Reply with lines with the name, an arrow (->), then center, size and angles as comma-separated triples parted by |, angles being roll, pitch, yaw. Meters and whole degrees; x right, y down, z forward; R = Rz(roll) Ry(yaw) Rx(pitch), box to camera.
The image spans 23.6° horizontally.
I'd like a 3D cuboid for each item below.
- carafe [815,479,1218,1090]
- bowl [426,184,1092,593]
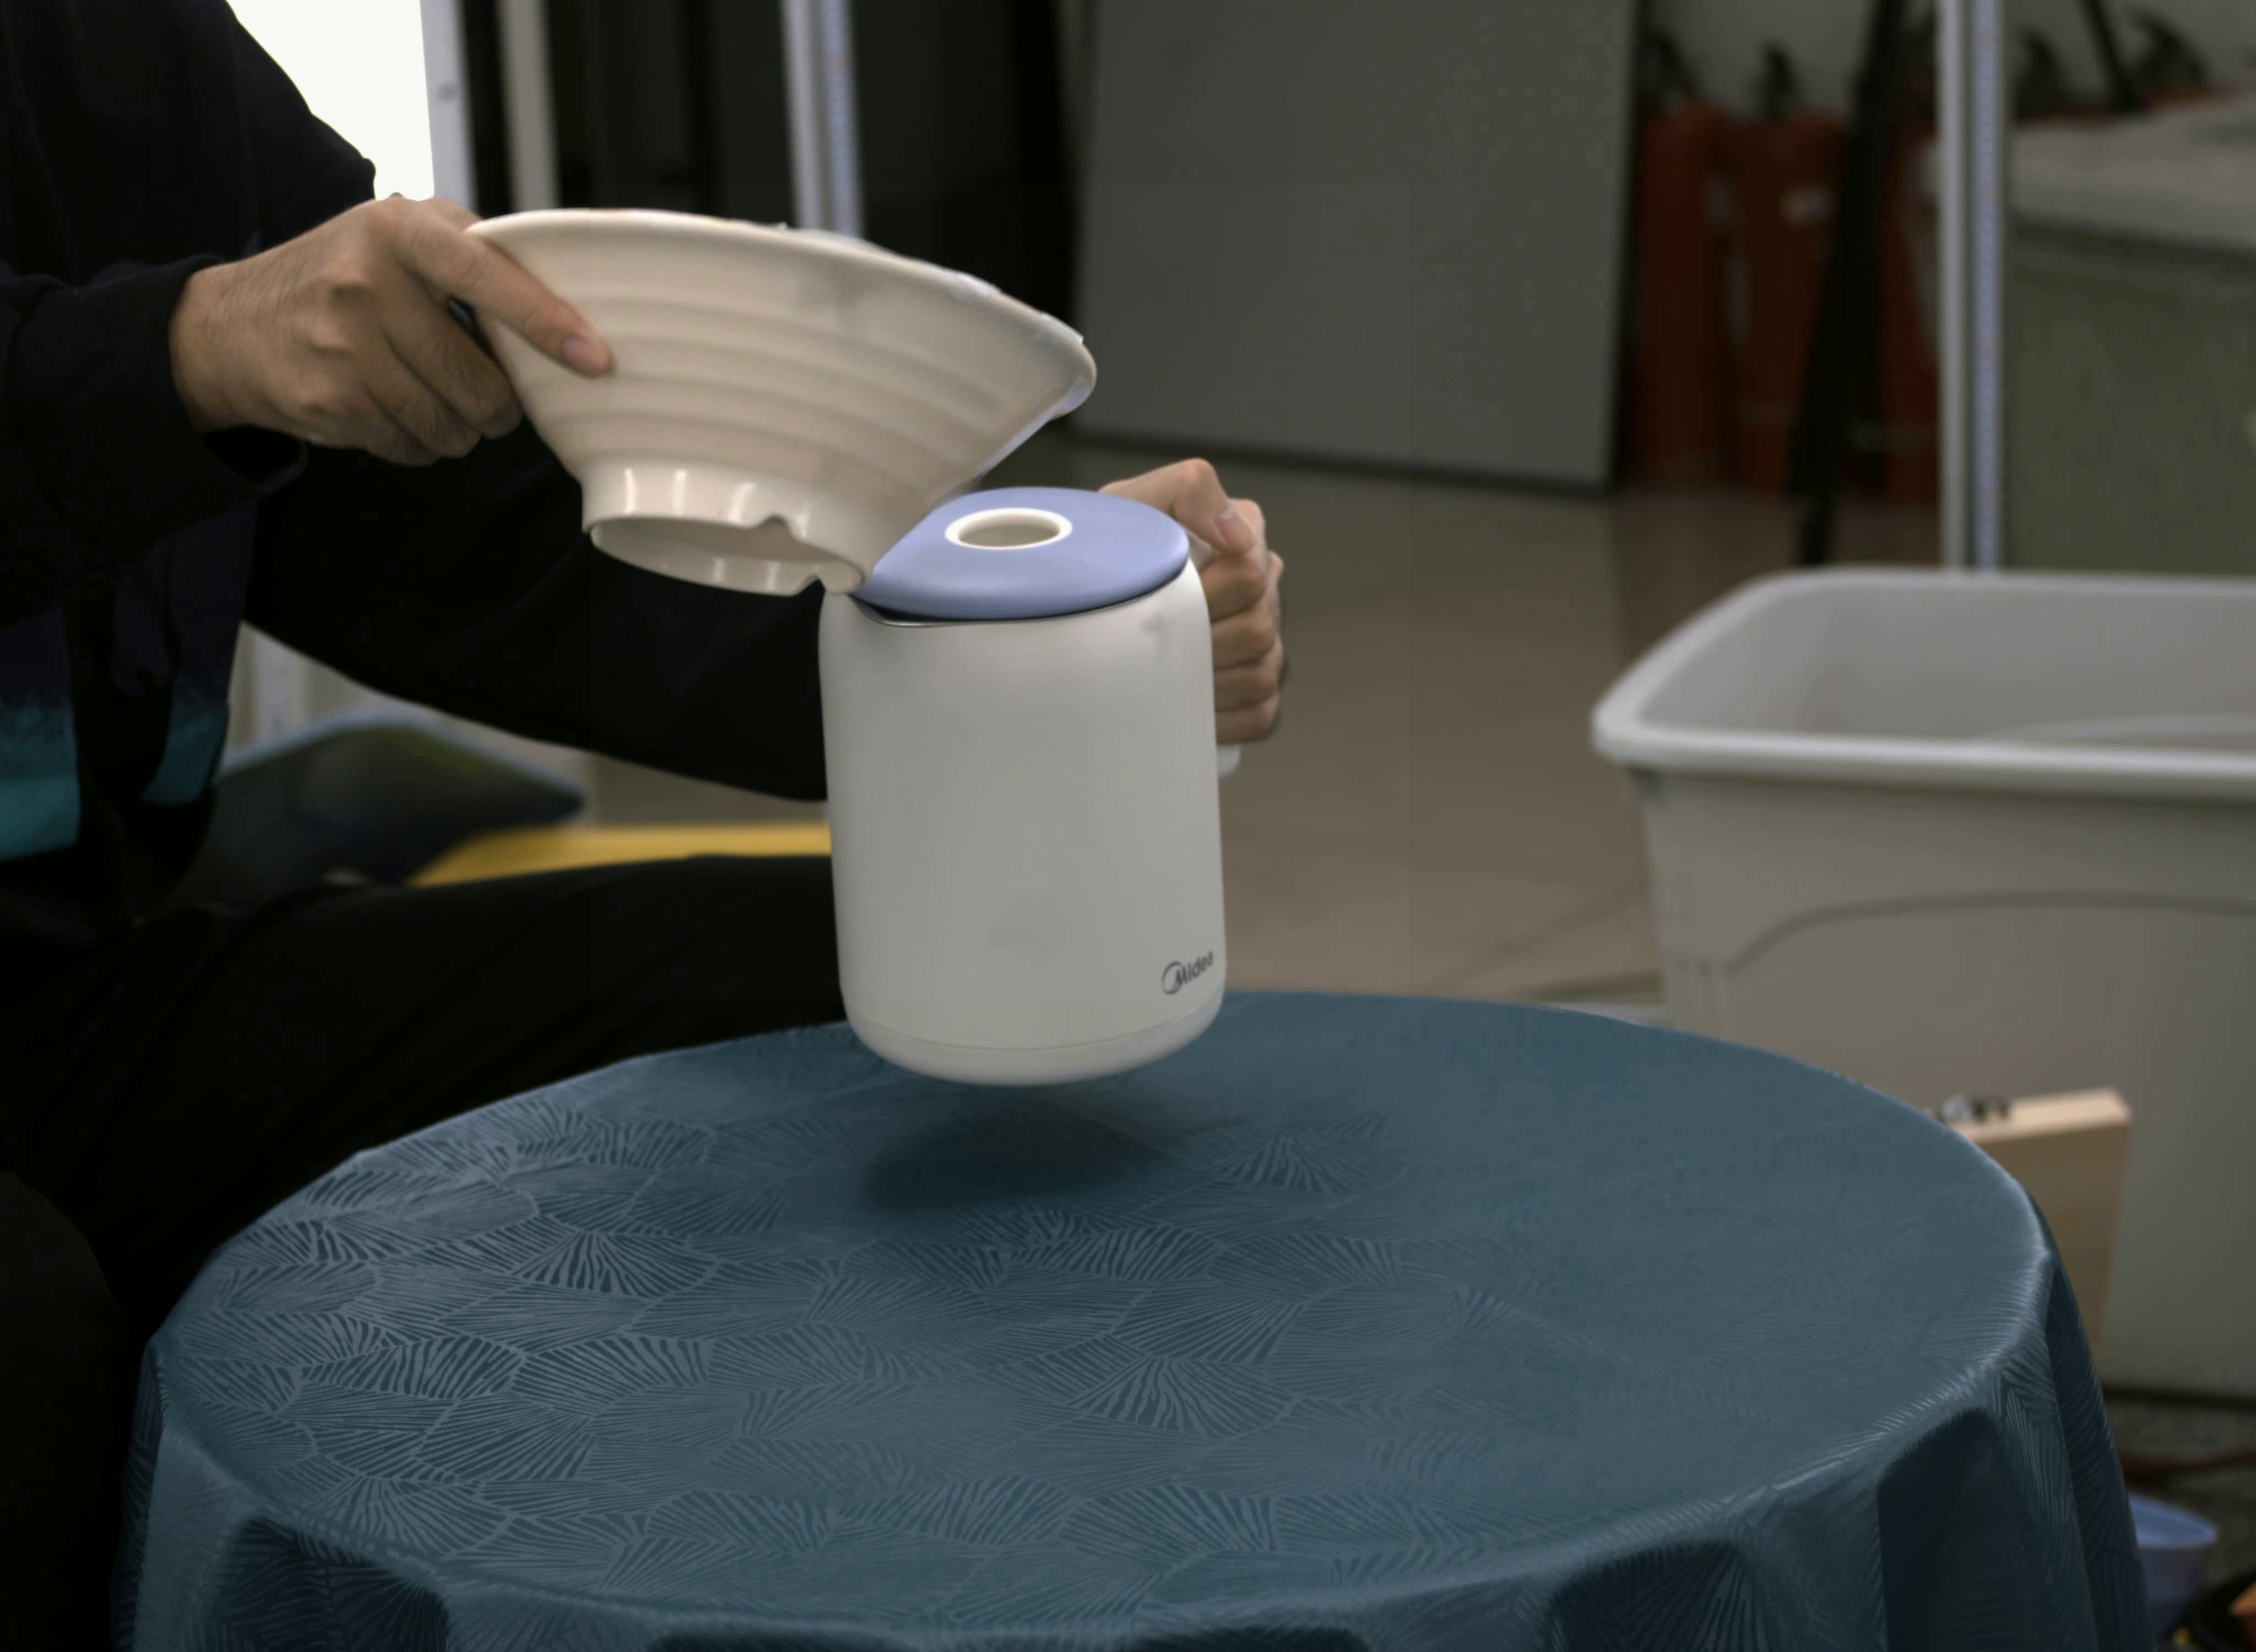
carafe -> -0.023, -0.022, 1.811 | 0.133, 0.184, 0.188 | 12, 23, 32
bowl -> -0.114, -0.119, 1.619 | 0.201, 0.079, 0.204 | 7, -13, 1
